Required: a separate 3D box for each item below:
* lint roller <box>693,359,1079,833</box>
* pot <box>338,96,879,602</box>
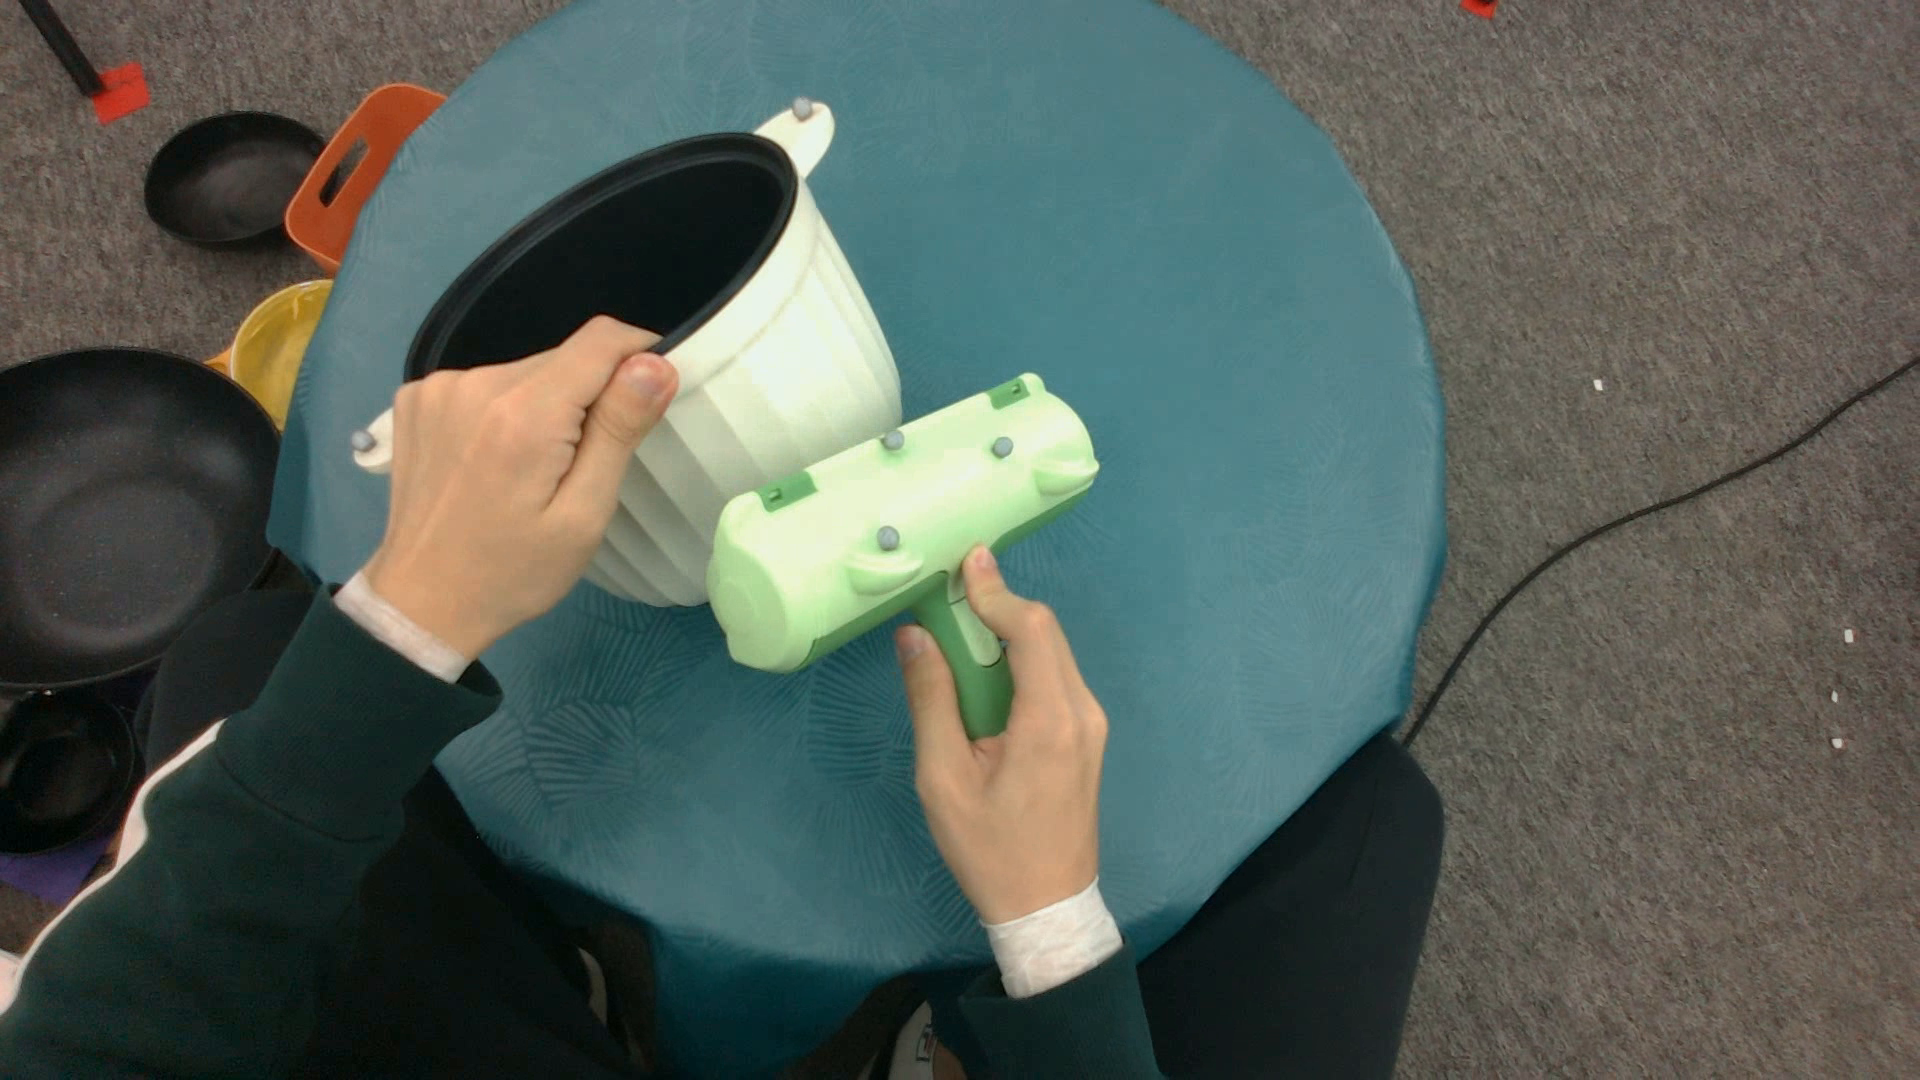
[{"bbox_3d":[0.006,0.033,0.557,0.199,0.082,0.183,-31,96,-47],"label":"lint roller"},{"bbox_3d":[-0.135,-0.070,0.604,0.241,0.142,0.190,-43,45,-15],"label":"pot"}]
